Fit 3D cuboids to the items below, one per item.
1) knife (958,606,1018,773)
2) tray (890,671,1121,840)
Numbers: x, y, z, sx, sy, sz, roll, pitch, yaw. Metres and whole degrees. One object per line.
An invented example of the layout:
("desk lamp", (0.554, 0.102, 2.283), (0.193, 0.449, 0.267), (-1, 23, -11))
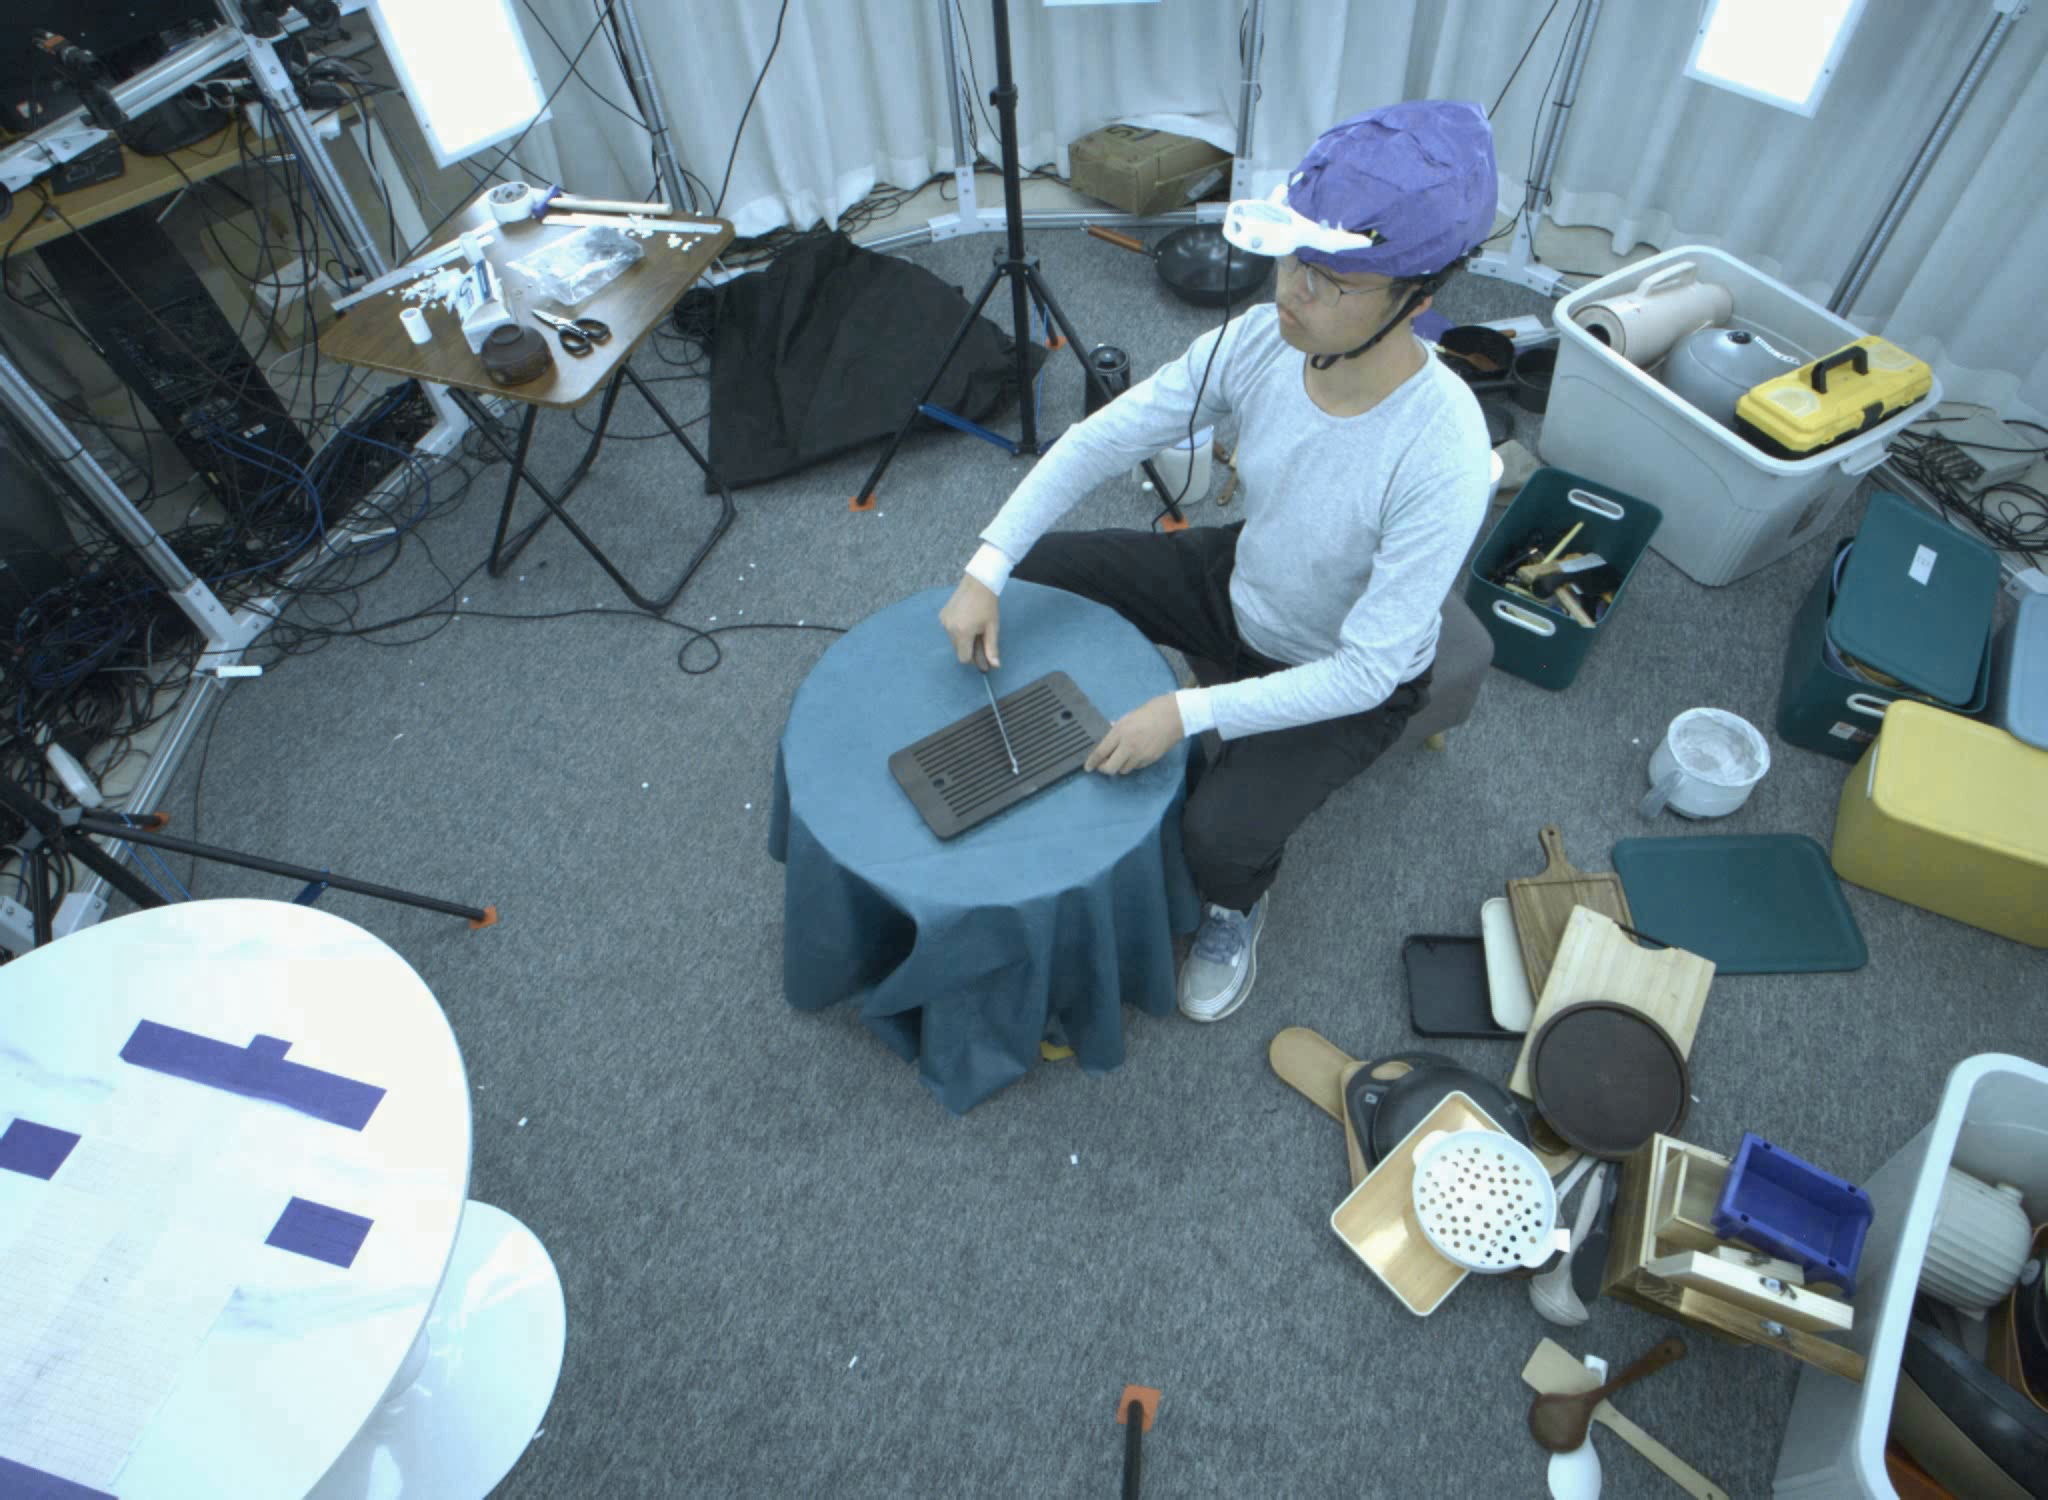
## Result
("knife", (-0.050, -0.092, 1.800), (0.020, 0.050, 0.285), (-16, 66, -7))
("tray", (-0.026, 0.005, 1.781), (0.308, 0.019, 0.167), (-27, 58, -18))
